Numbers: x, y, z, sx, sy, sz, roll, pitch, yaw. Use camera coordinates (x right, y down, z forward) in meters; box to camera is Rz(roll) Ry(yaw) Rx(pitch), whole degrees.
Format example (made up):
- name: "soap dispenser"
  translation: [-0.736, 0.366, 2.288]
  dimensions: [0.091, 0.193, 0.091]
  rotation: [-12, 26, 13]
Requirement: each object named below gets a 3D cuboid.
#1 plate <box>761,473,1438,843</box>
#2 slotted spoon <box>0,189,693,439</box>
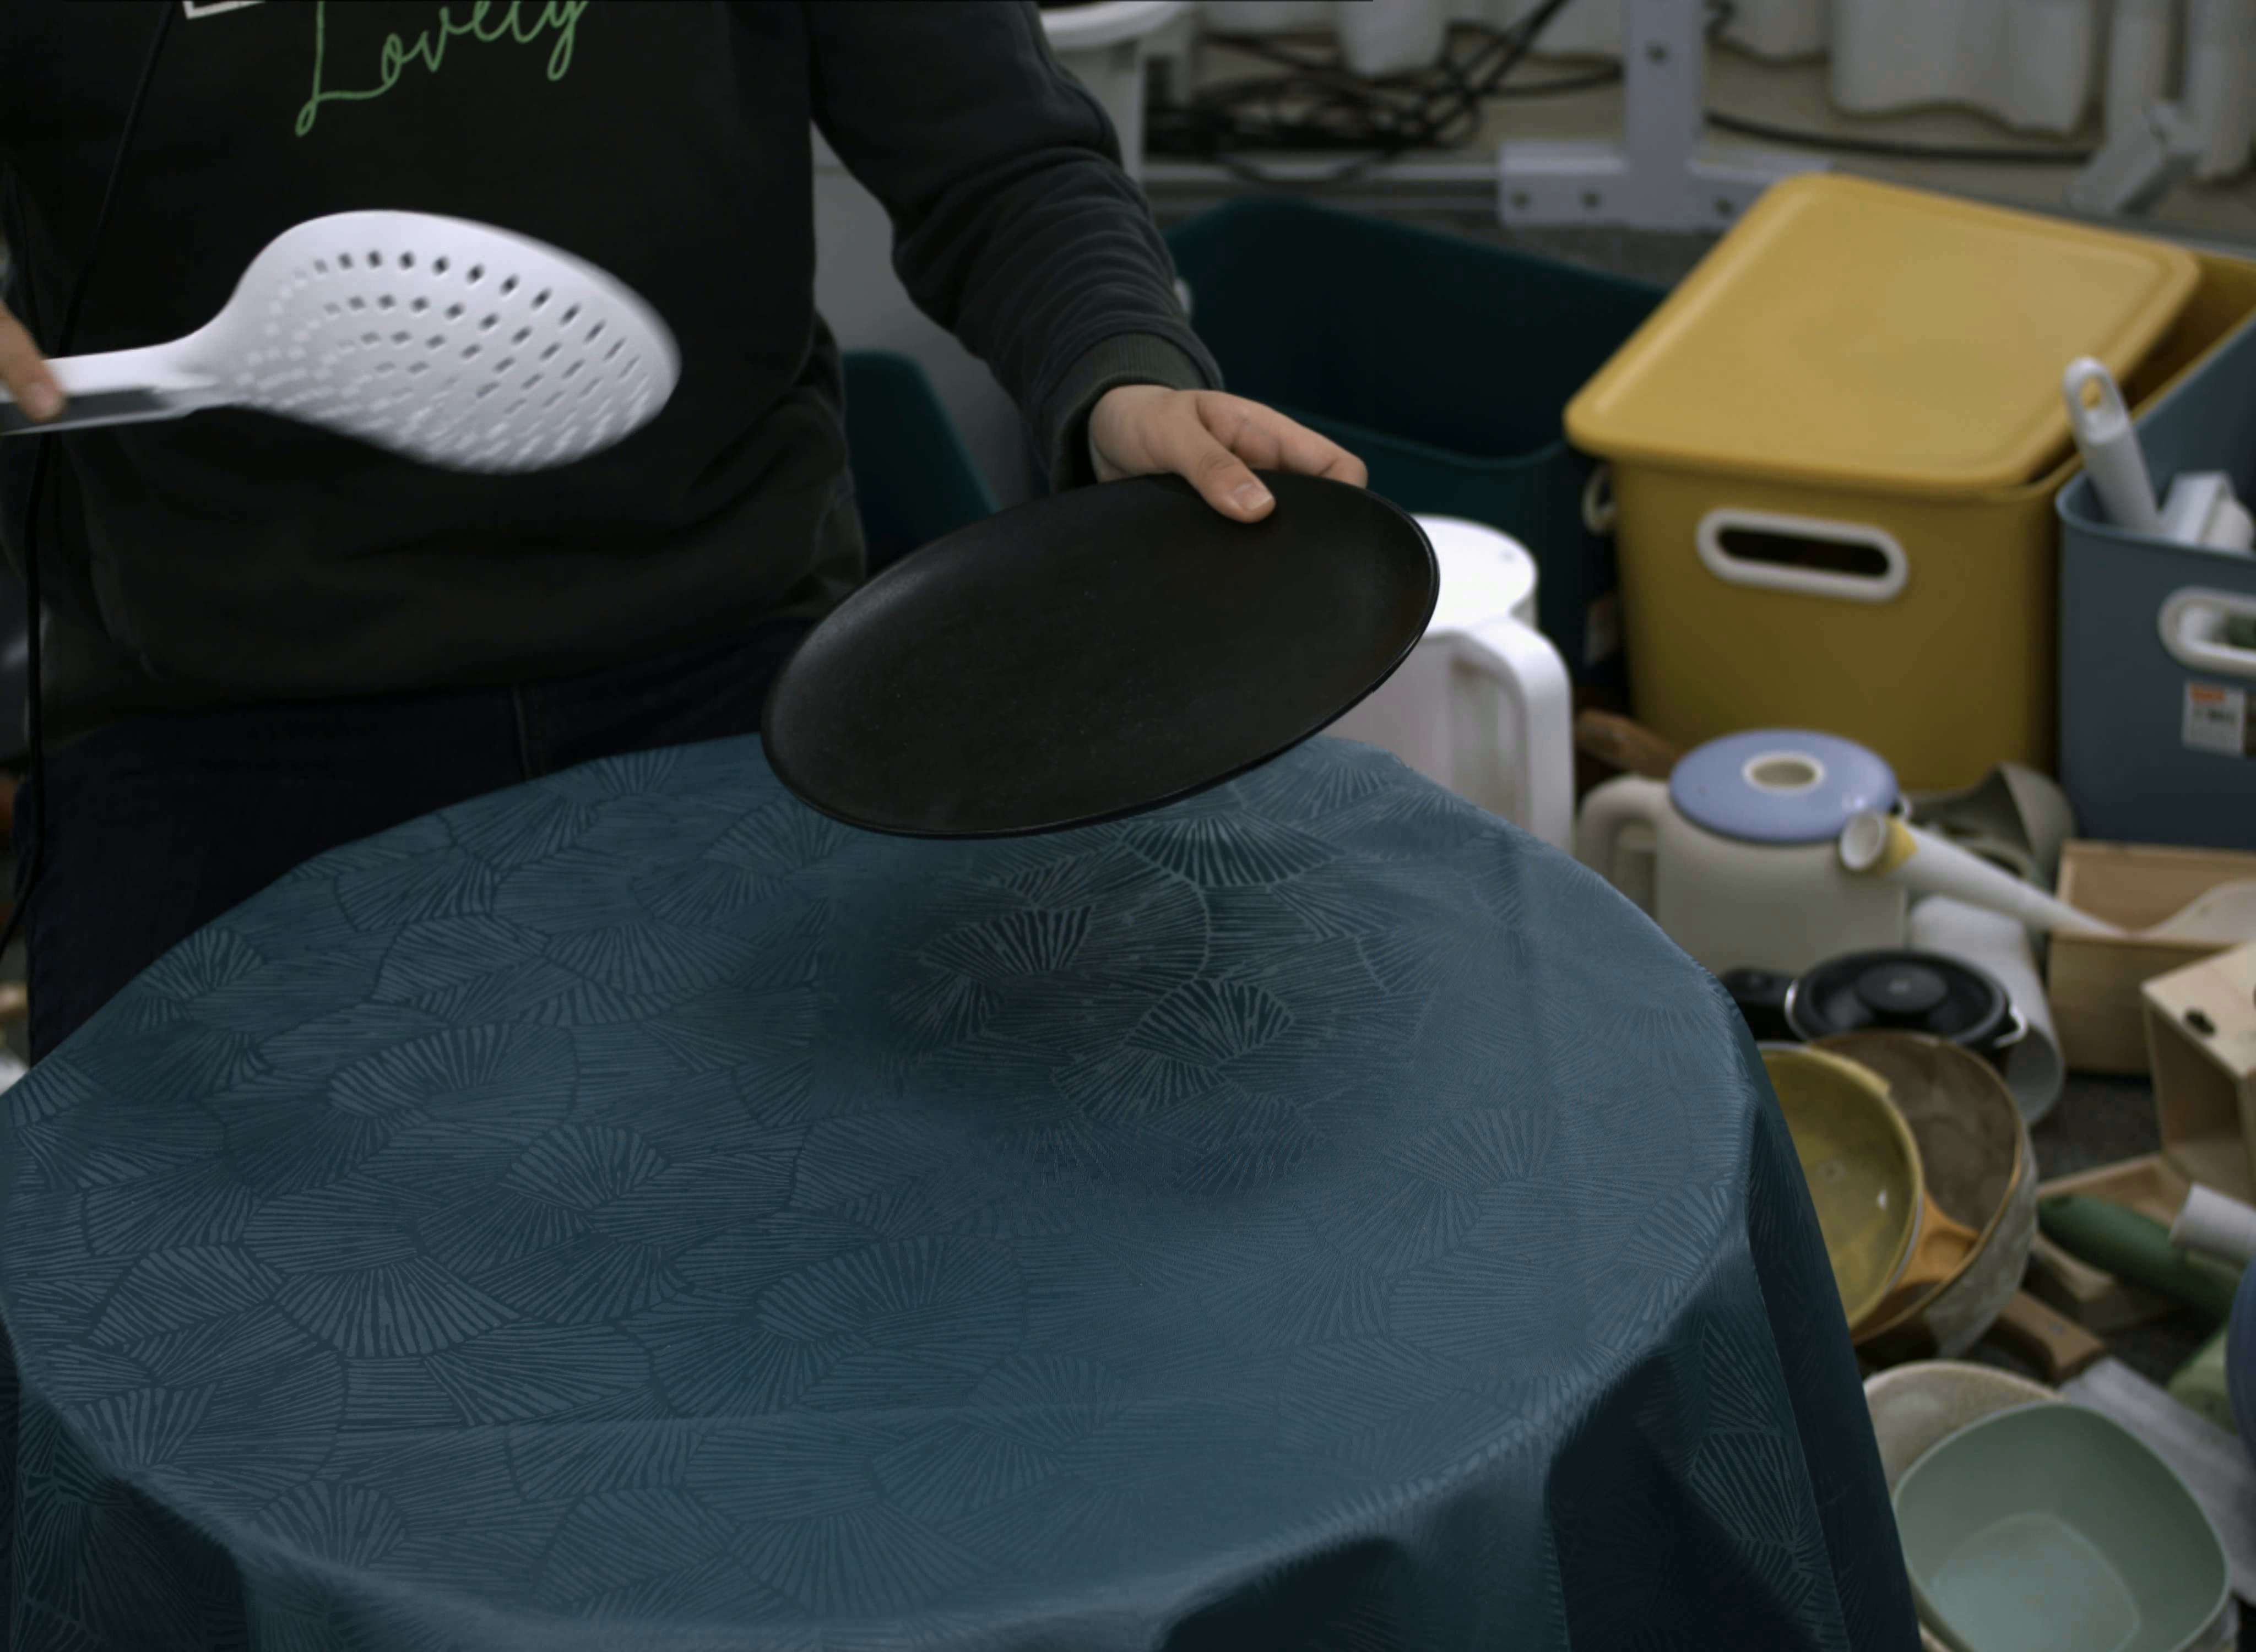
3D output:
- name: "plate"
  translation: [-0.009, -0.054, 1.955]
  dimensions: [0.243, 0.023, 0.248]
  rotation: [-12, 29, 7]
- name: "slotted spoon"
  translation: [-0.297, -0.153, 1.855]
  dimensions: [0.346, 0.135, 0.046]
  rotation: [0, 65, 34]
